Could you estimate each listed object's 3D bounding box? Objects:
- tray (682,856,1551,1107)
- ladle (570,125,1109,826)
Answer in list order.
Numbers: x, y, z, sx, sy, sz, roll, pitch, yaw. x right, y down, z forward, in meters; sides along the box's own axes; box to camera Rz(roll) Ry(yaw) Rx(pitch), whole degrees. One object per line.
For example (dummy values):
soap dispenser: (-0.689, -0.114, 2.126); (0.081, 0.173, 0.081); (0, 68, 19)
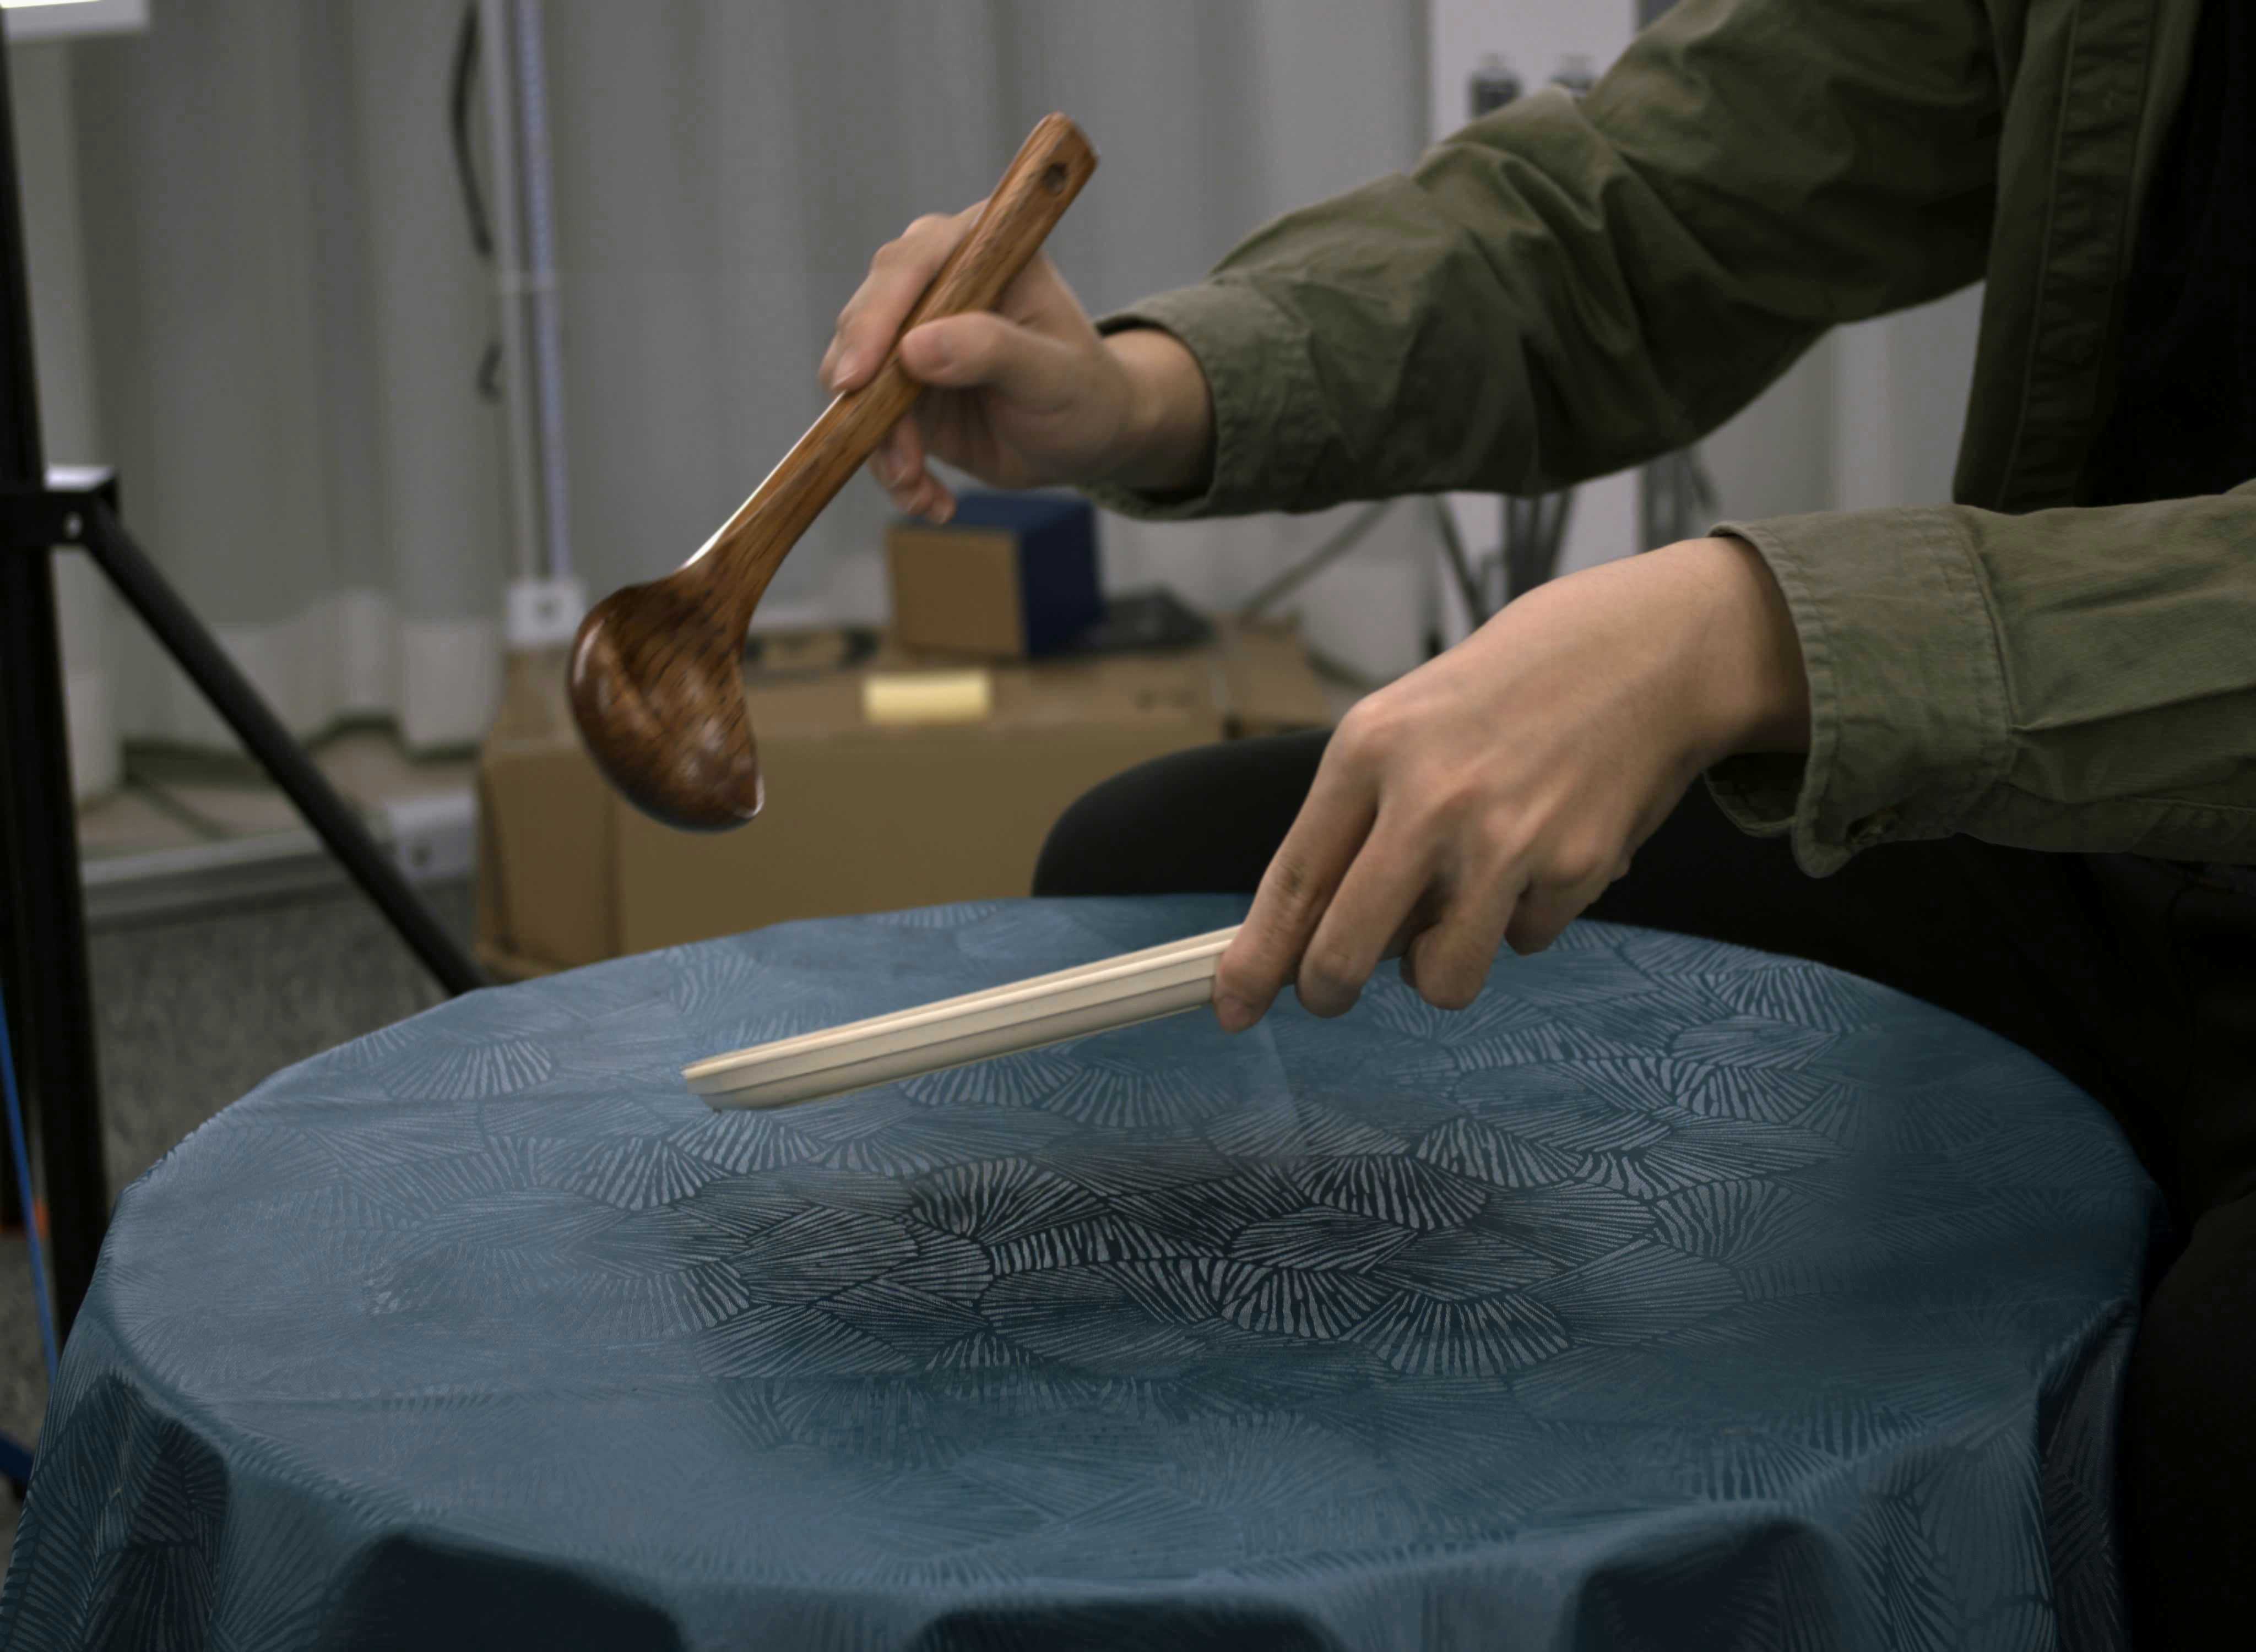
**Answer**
tray: (-0.005, 0.046, 1.507); (0.237, 0.017, 0.172); (-14, 0, -8)
ladle: (-0.077, -0.115, 1.657); (0.078, 0.080, 0.273); (20, 64, 48)
